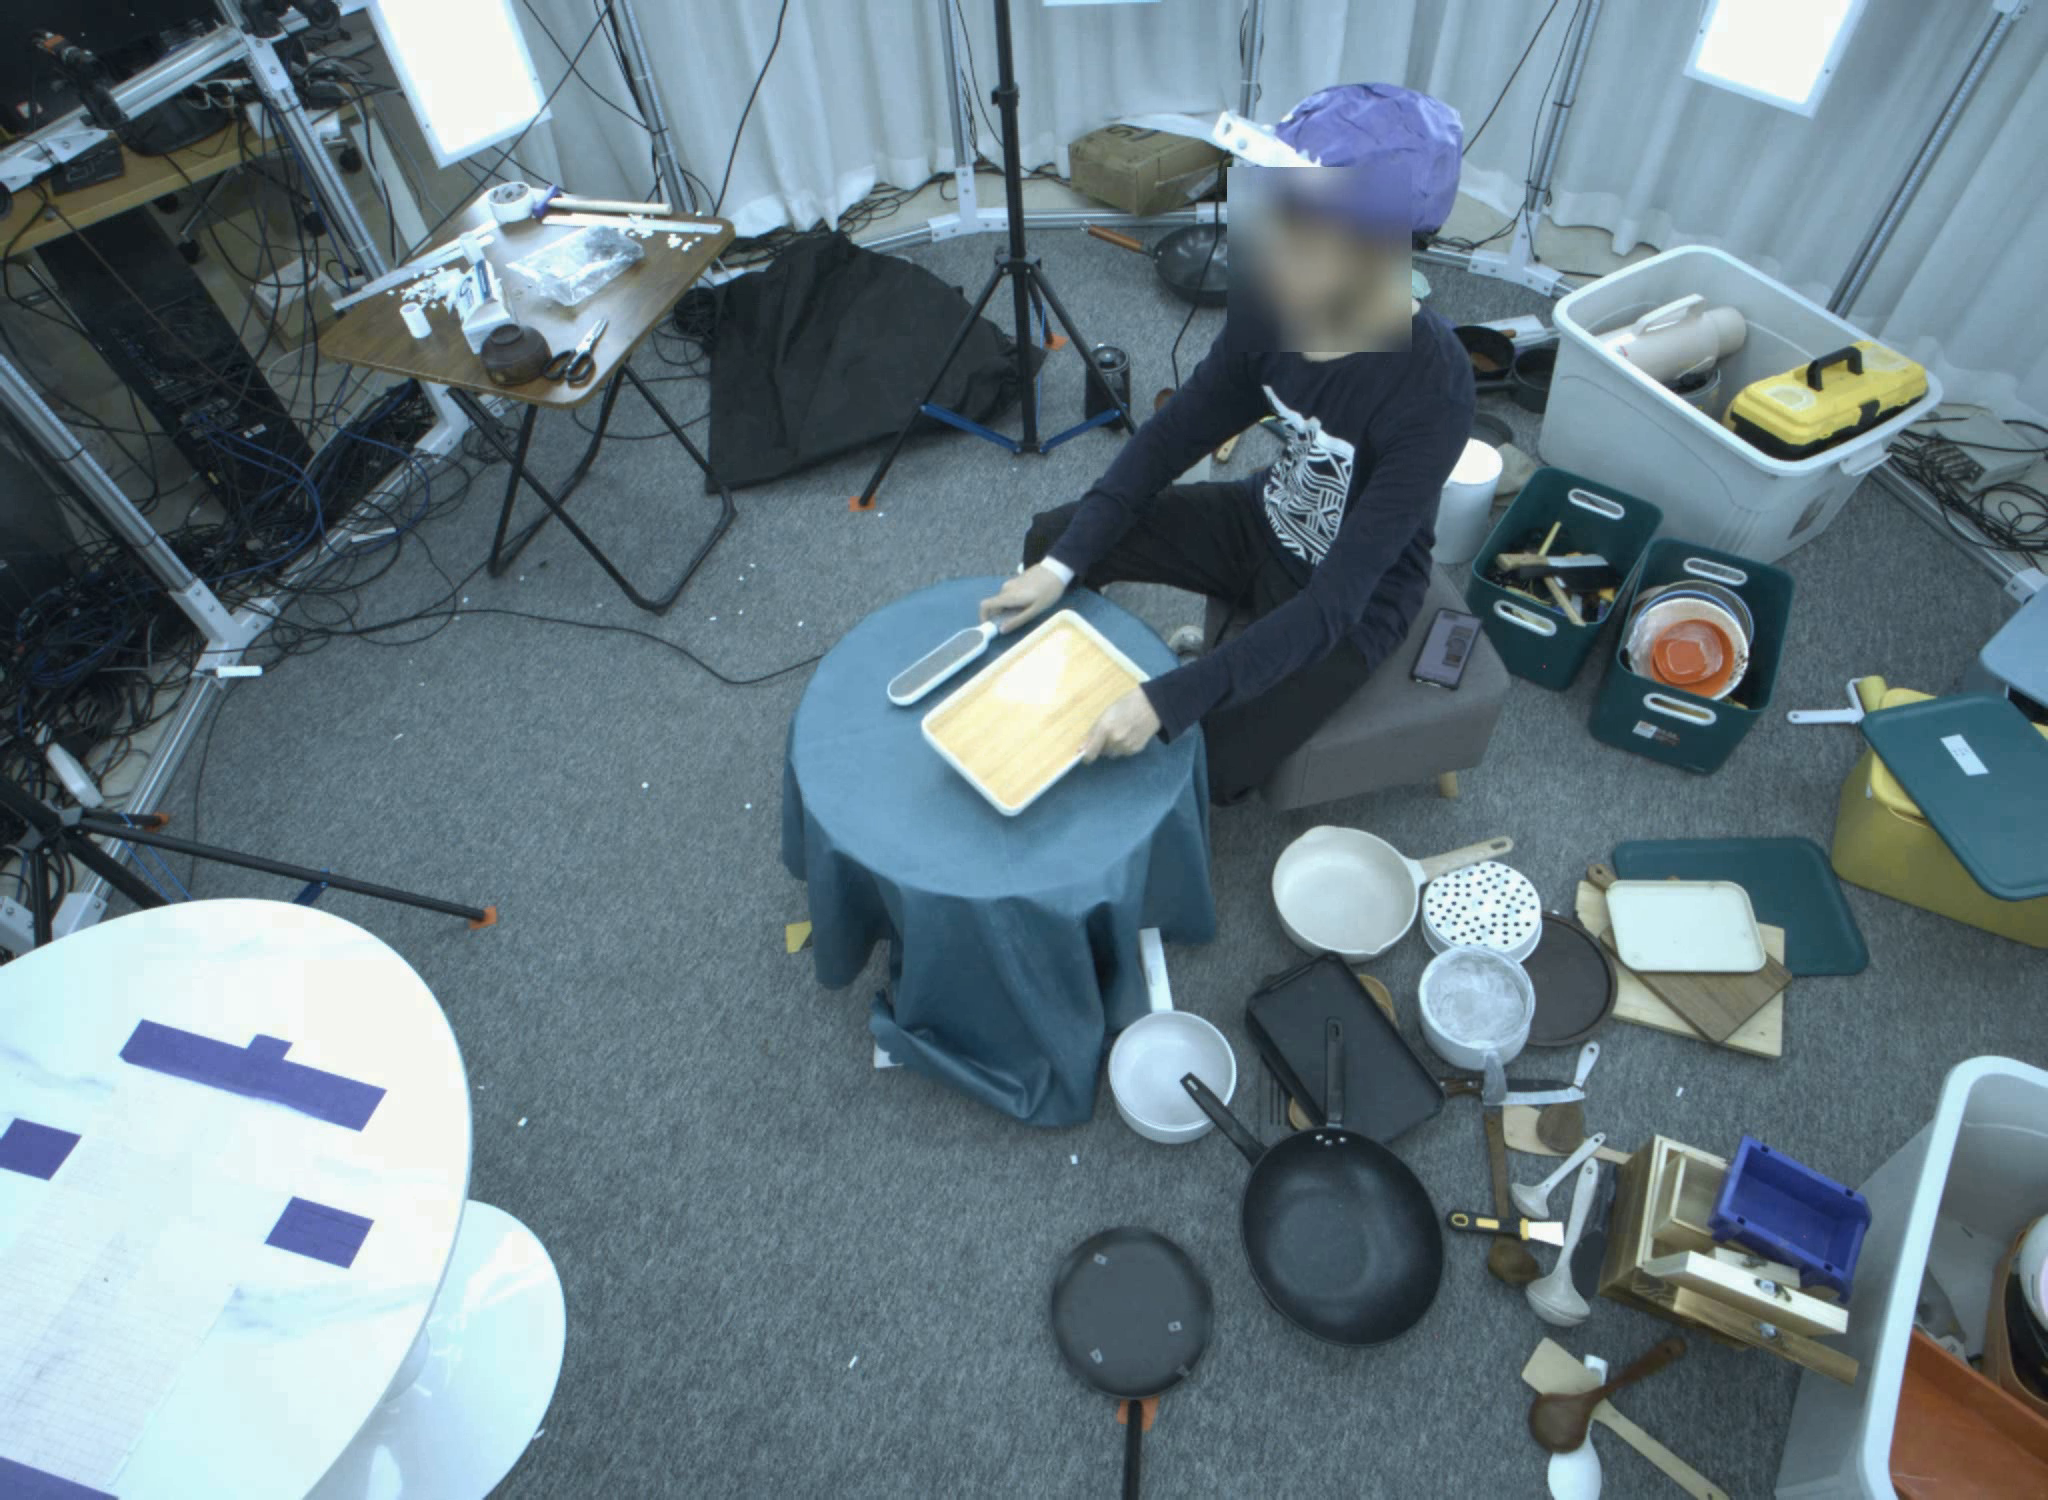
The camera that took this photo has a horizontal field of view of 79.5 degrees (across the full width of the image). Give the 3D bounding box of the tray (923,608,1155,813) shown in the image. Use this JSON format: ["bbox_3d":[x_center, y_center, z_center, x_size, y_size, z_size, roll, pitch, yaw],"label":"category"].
[{"bbox_3d":[0.023,-0.061,1.746,0.302,0.027,0.189,-39,76,-24],"label":"tray"}]

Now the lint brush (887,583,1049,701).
[{"bbox_3d":[-0.083,-0.168,1.885,0.311,0.021,0.058,-37,41,-18],"label":"lint brush"}]
